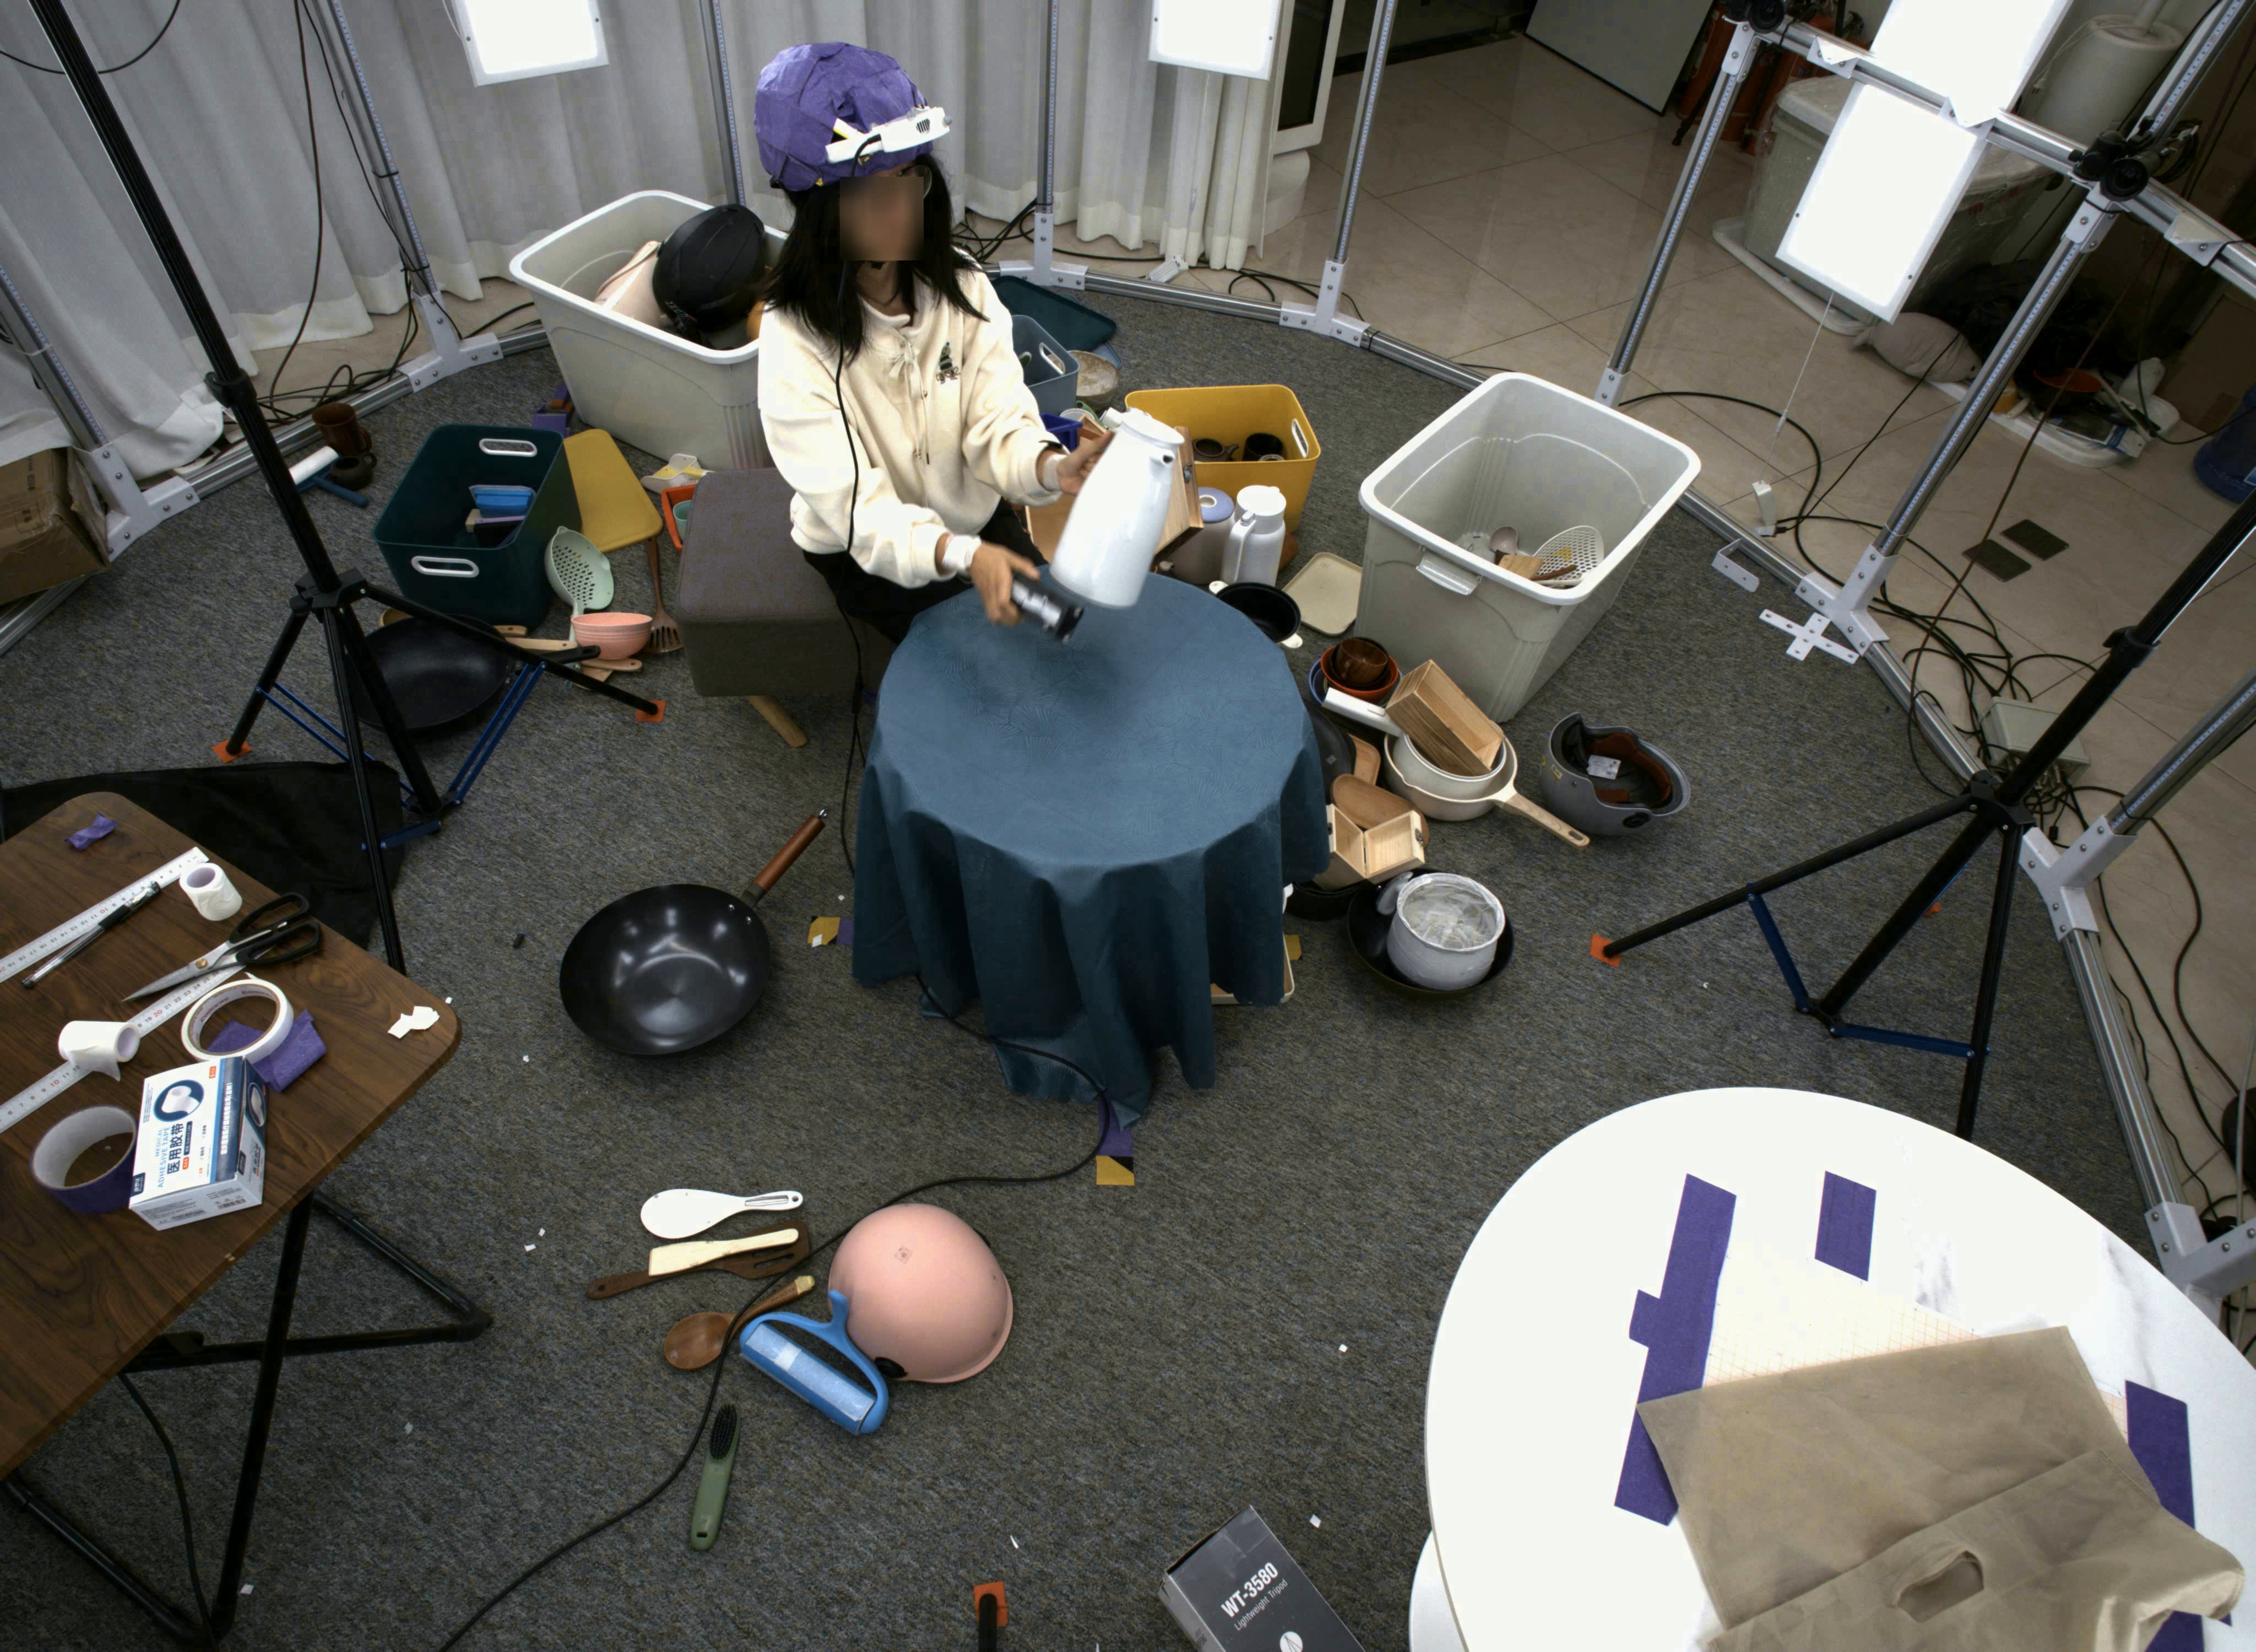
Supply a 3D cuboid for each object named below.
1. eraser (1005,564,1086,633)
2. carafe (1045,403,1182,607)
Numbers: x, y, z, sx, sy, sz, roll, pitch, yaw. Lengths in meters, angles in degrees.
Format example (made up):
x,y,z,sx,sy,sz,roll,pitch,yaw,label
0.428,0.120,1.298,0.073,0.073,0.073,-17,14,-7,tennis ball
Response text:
x,y,z,sx,sy,sz,roll,pitch,yaw,label
-0.112,-0.309,1.746,0.127,0.053,0.030,34,13,39,eraser
-0.021,-0.453,1.783,0.132,0.244,0.171,4,32,-34,carafe
